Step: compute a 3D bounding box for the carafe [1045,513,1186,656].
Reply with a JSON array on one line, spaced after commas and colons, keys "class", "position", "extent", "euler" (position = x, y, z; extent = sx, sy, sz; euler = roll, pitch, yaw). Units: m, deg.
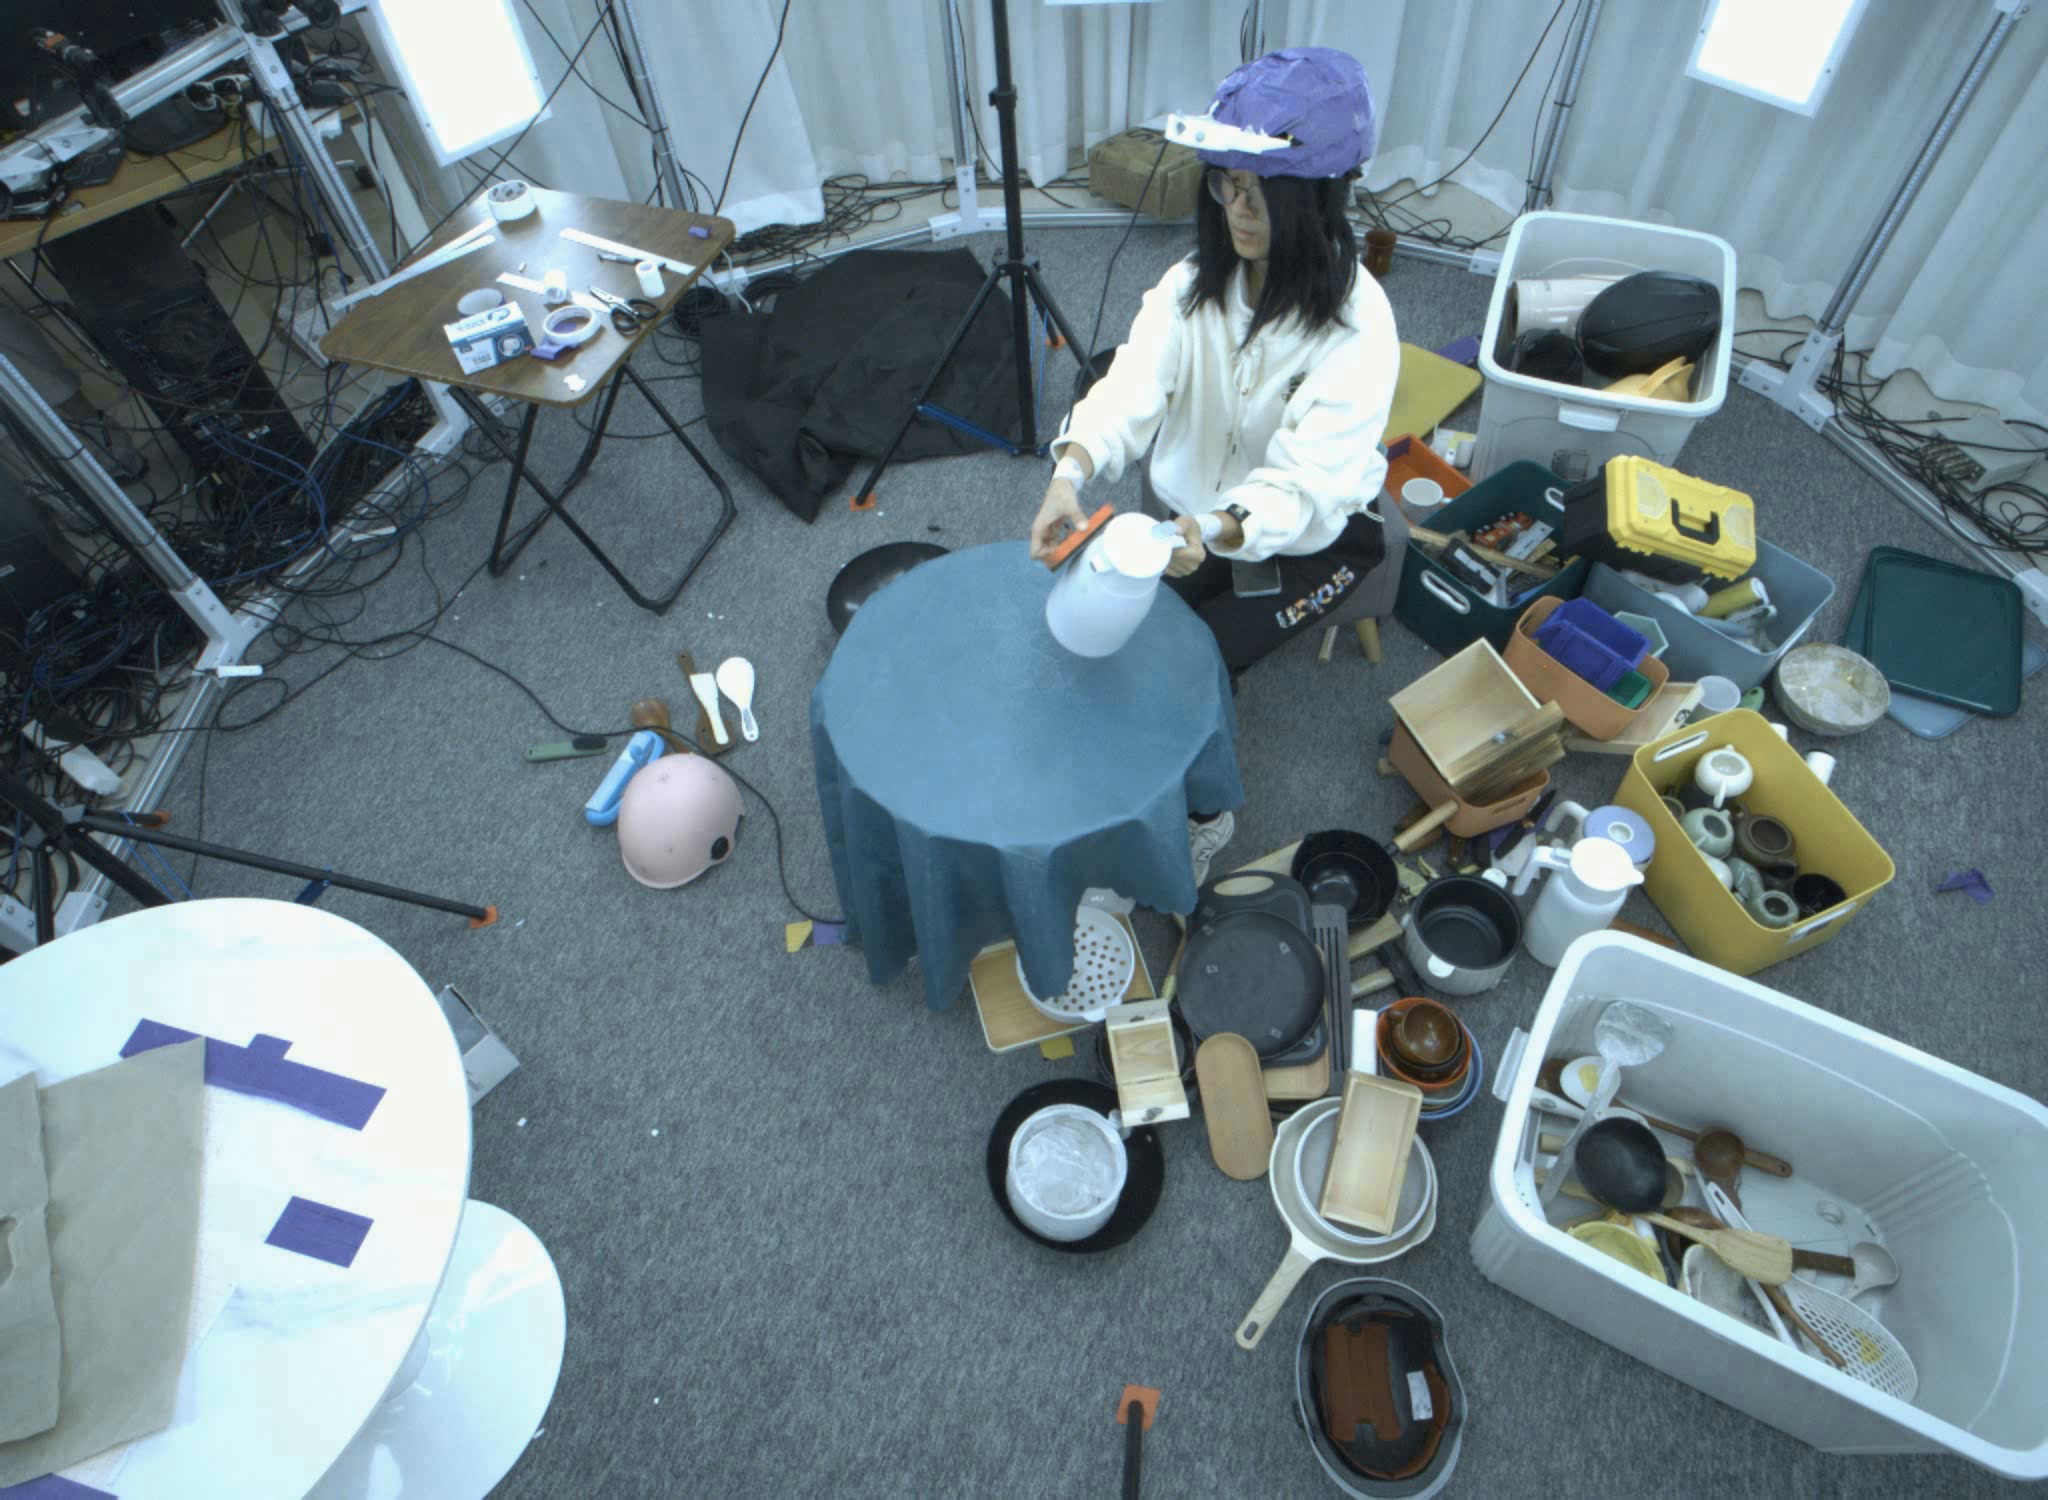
[{"class": "carafe", "position": [0.136, -0.241, 1.689], "extent": [0.169, 0.247, 0.132], "euler": [-26, 81, -20]}]

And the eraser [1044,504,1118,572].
[{"class": "eraser", "position": [0.076, -0.287, 1.658], "extent": [0.108, 0.058, 0.023], "euler": [-44, 98, -19]}]
